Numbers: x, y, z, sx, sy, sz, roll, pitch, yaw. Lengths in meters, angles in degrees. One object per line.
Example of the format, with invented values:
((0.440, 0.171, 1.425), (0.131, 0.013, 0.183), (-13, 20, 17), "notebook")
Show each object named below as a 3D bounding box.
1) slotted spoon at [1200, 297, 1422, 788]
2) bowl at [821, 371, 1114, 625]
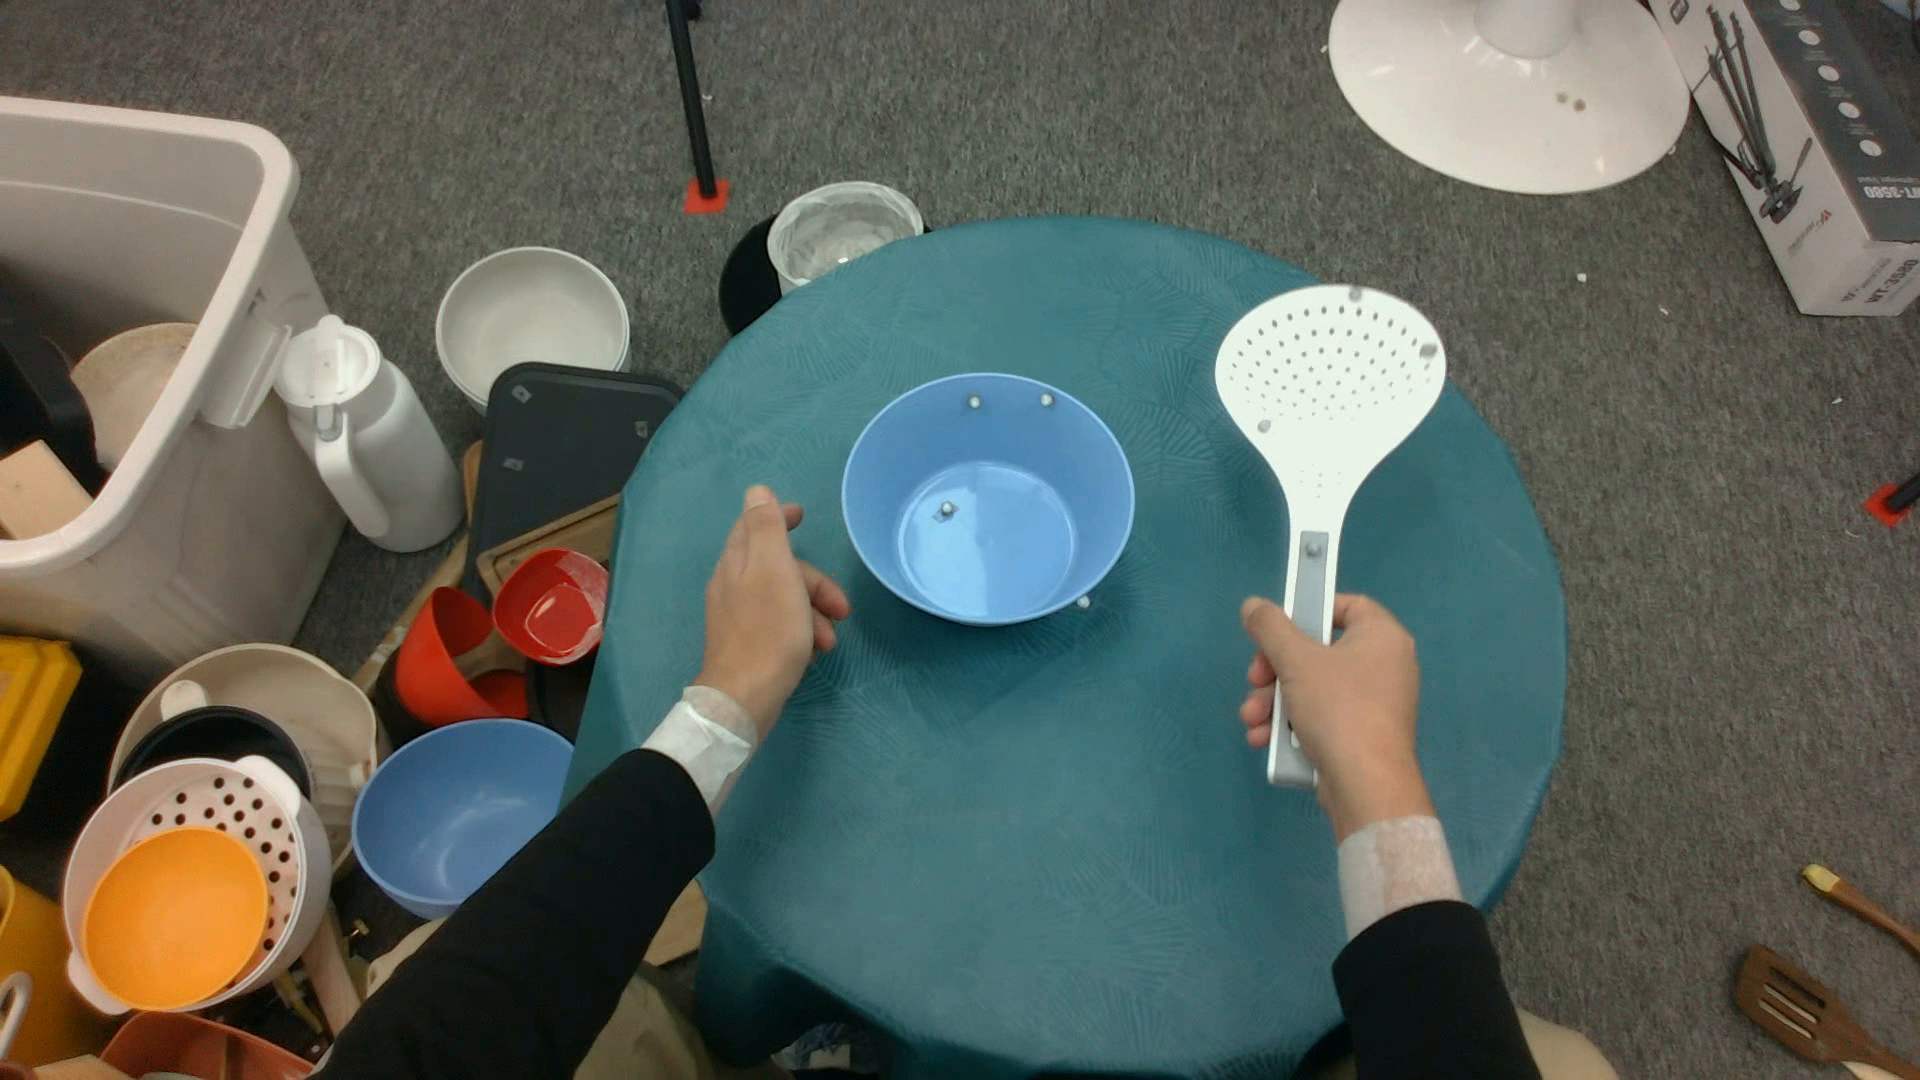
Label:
((0.198, -0.014, 0.806), (0.136, 0.045, 0.351), (5, 49, 13), "slotted spoon")
((0.004, -0.015, 0.849), (0.176, 0.070, 0.177), (1, 61, -1), "bowl")
